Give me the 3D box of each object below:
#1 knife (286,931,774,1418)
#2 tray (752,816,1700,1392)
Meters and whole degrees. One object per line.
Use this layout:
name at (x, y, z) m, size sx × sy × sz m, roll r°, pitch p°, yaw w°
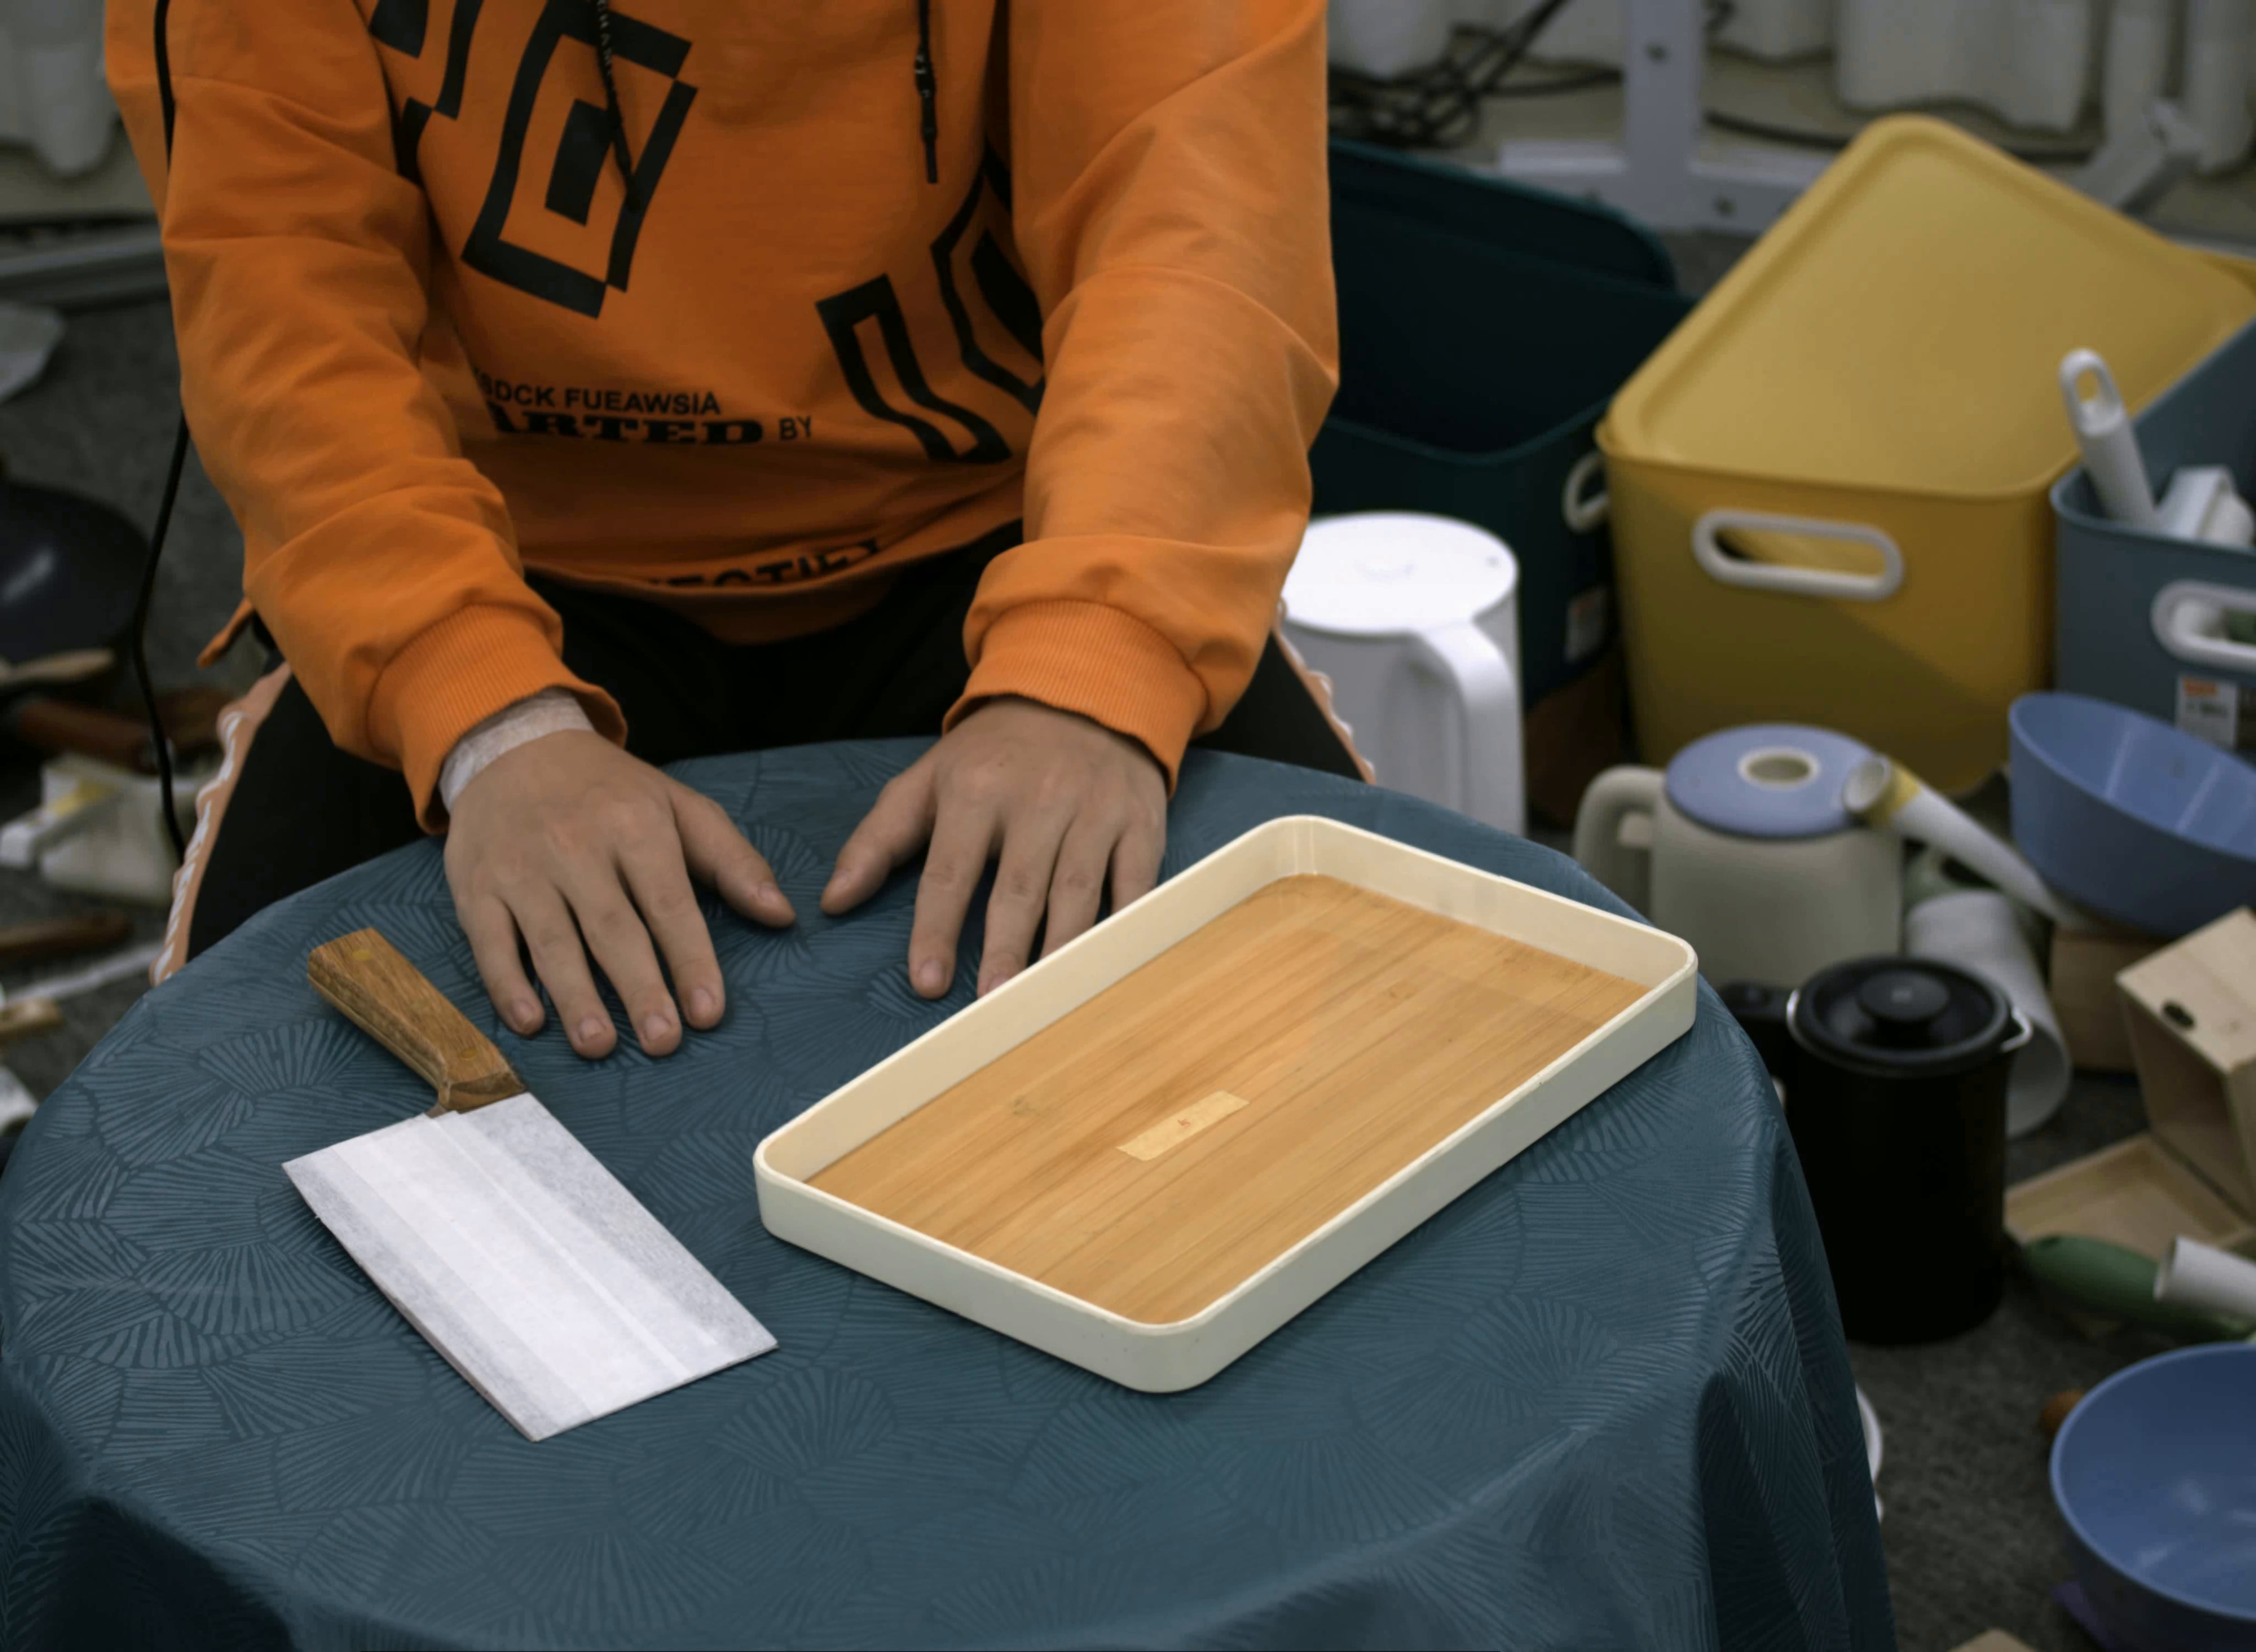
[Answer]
knife at (-0.226, 0.116, 1.878) m, size 0.093 × 0.021 × 0.307 m, roll -19°, pitch 34°, yaw -26°
tray at (0.037, 0.087, 1.894) m, size 0.191 × 0.027 × 0.304 m, roll 19°, pitch 35°, yaw 36°
